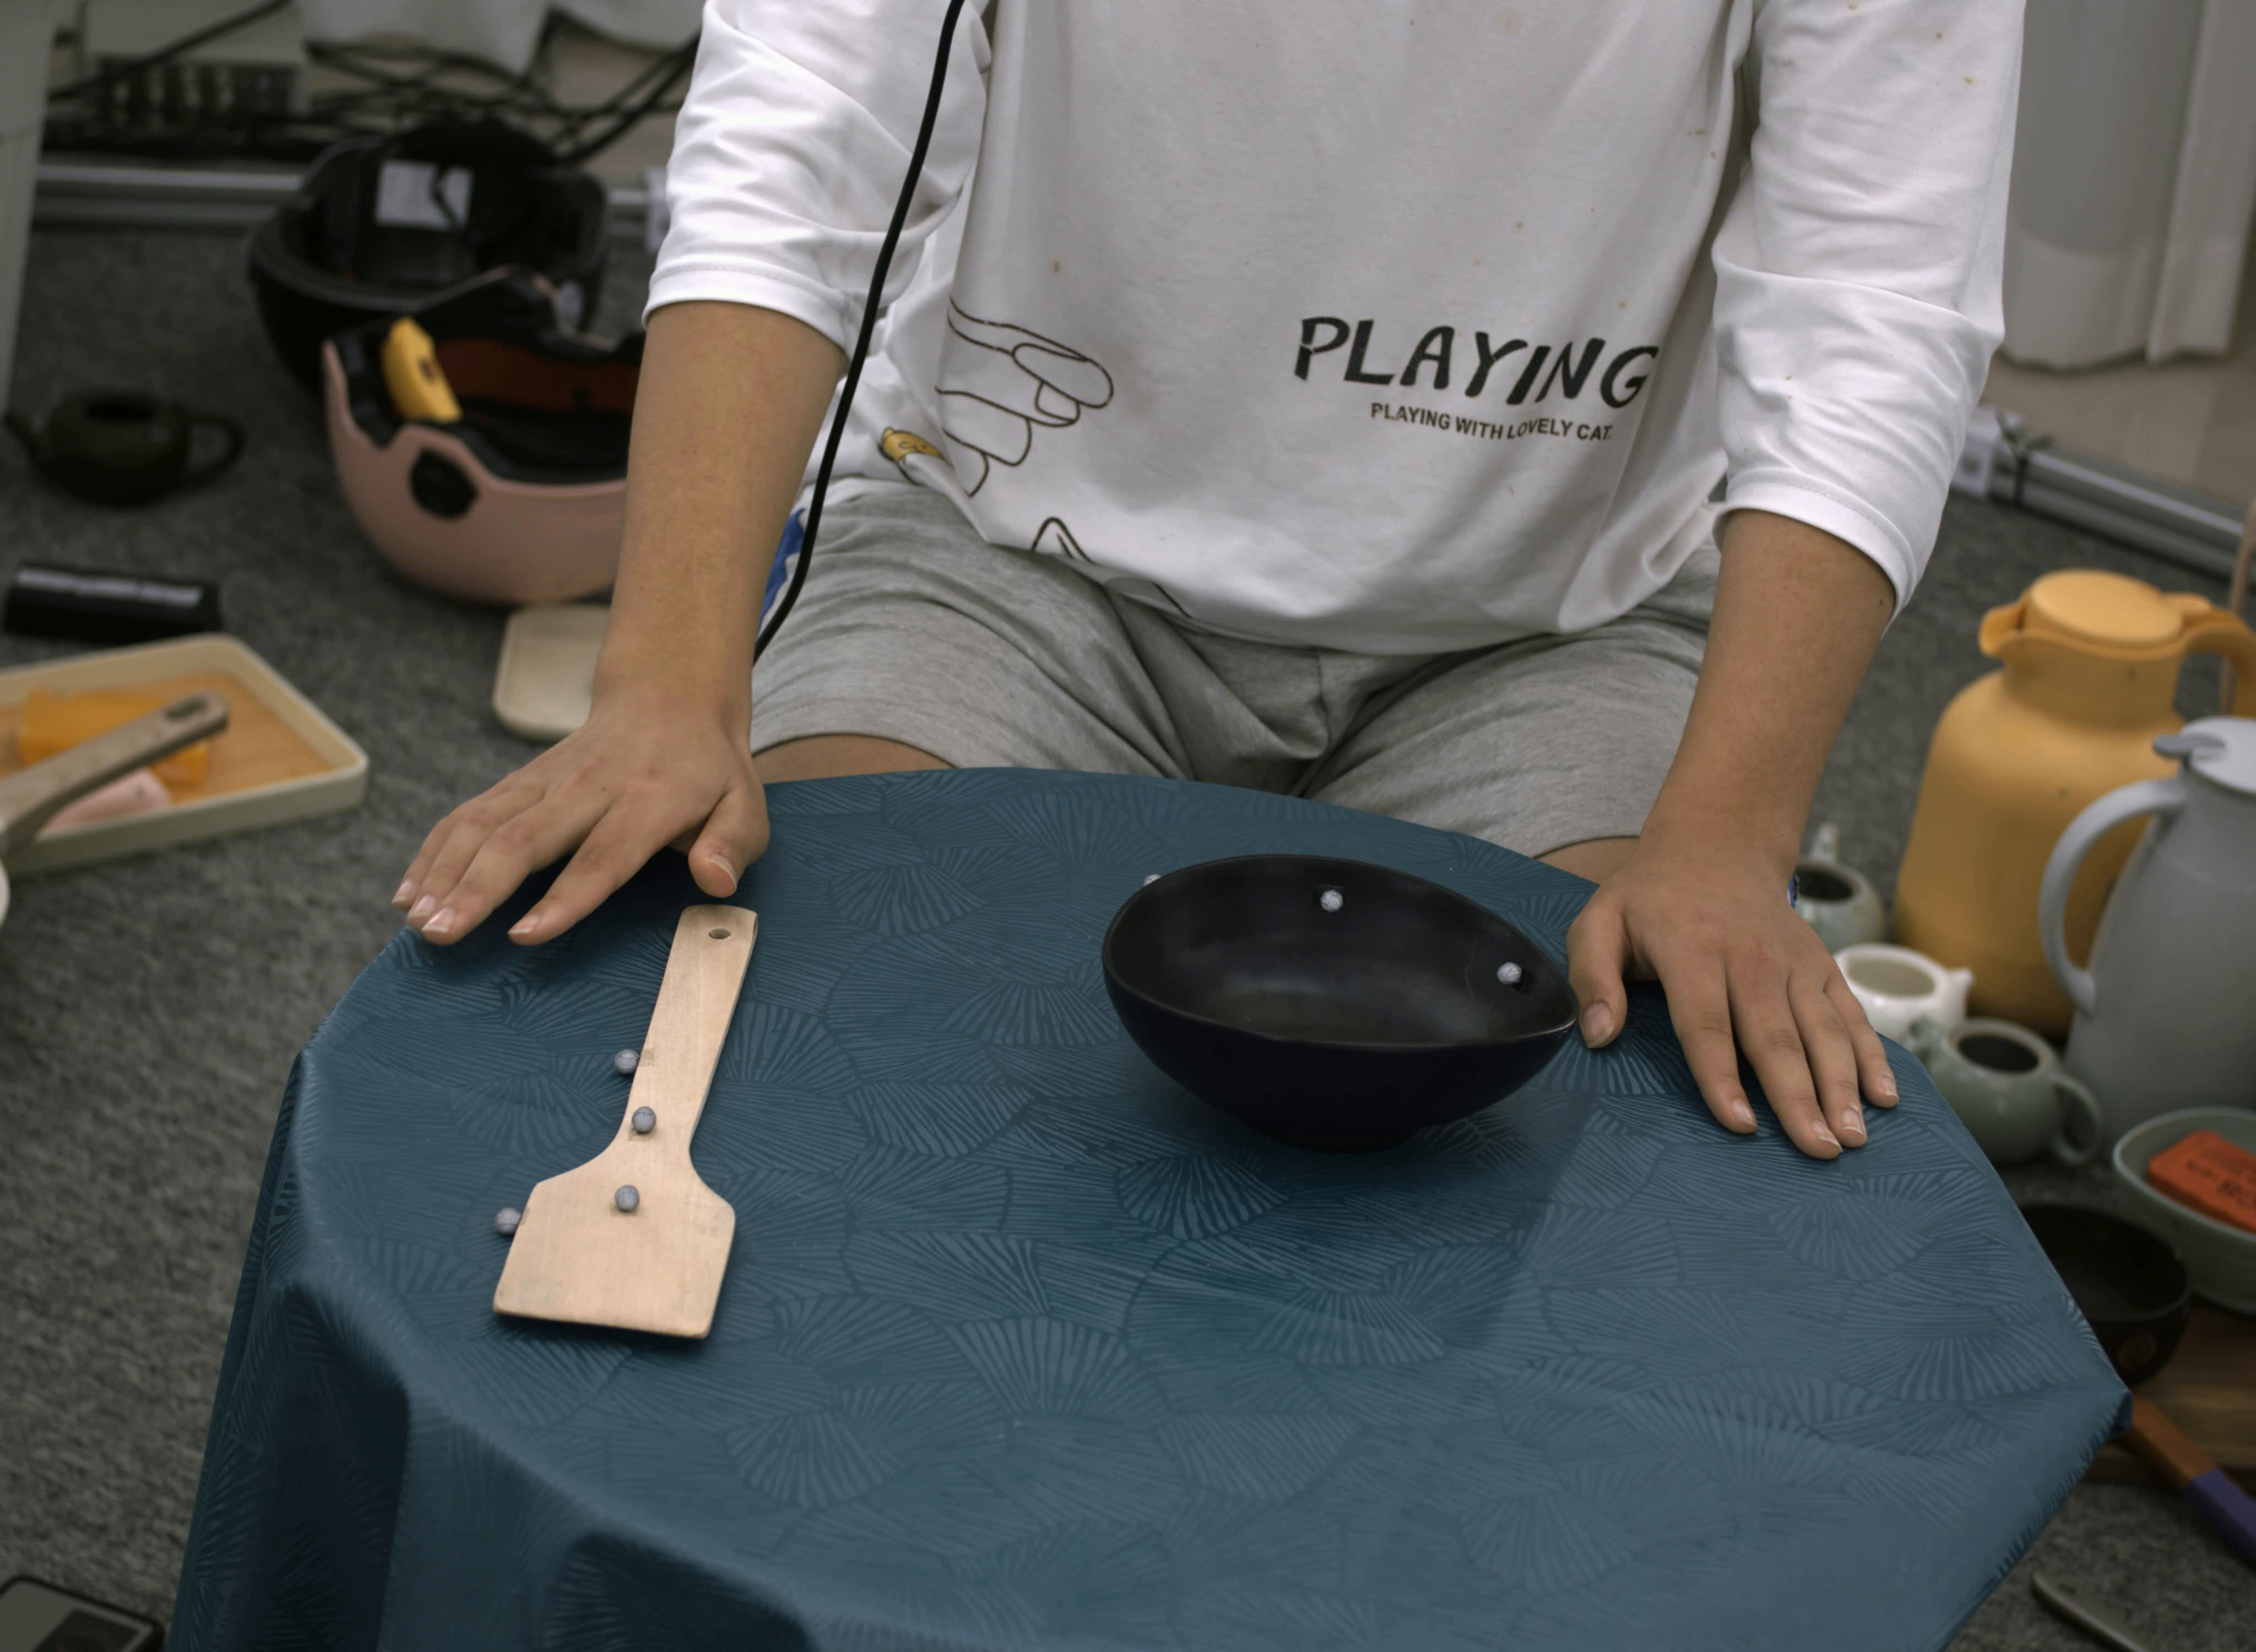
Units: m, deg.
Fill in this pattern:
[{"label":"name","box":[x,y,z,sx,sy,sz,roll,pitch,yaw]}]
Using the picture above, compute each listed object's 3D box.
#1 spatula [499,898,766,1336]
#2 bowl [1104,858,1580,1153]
[{"label":"spatula","box":[-0.157,0.094,1.816,0.072,0.010,0.294,6,27,1]},{"label":"bowl","box":[0.071,0.070,1.860,0.169,0.066,0.138,3,26,-12]}]
